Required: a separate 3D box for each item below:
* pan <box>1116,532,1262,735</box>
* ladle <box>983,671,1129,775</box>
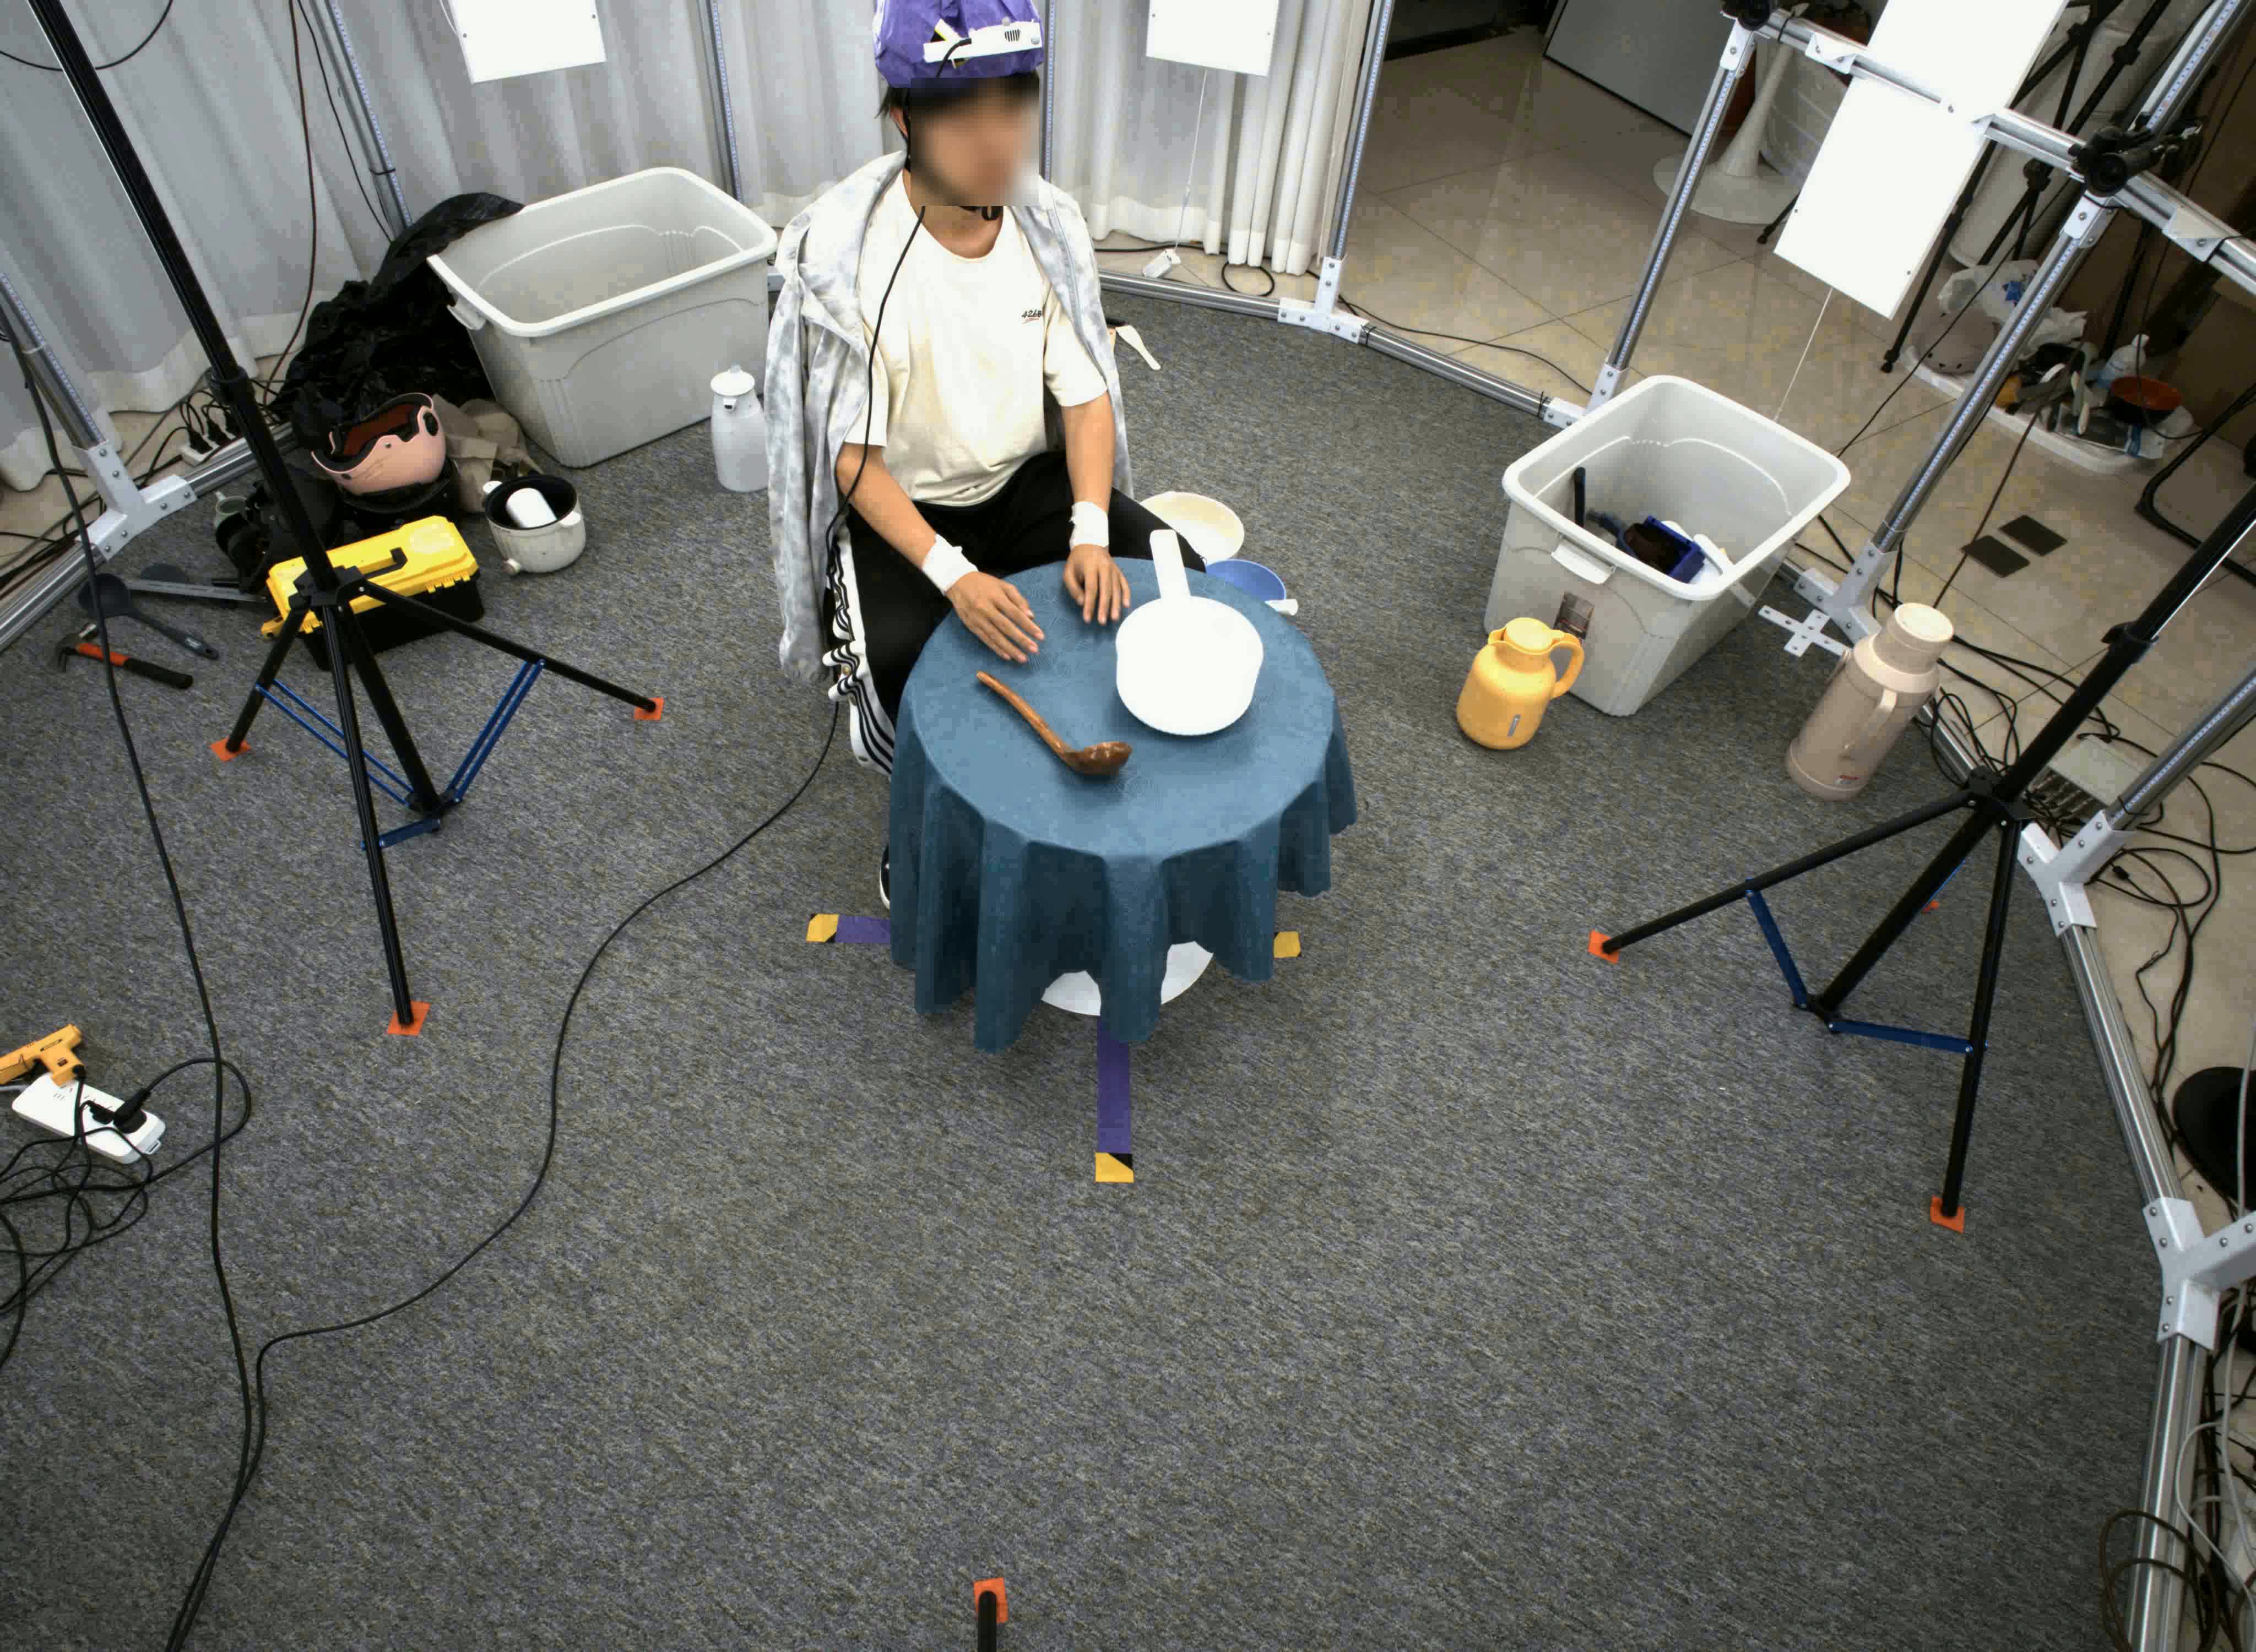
[{"bbox_3d":[0.073,-0.277,1.845,0.201,0.099,0.364,-4,48,-6],"label":"pan"},{"bbox_3d":[-0.102,-0.157,1.746,0.076,0.081,0.279,-51,56,12],"label":"ladle"}]
